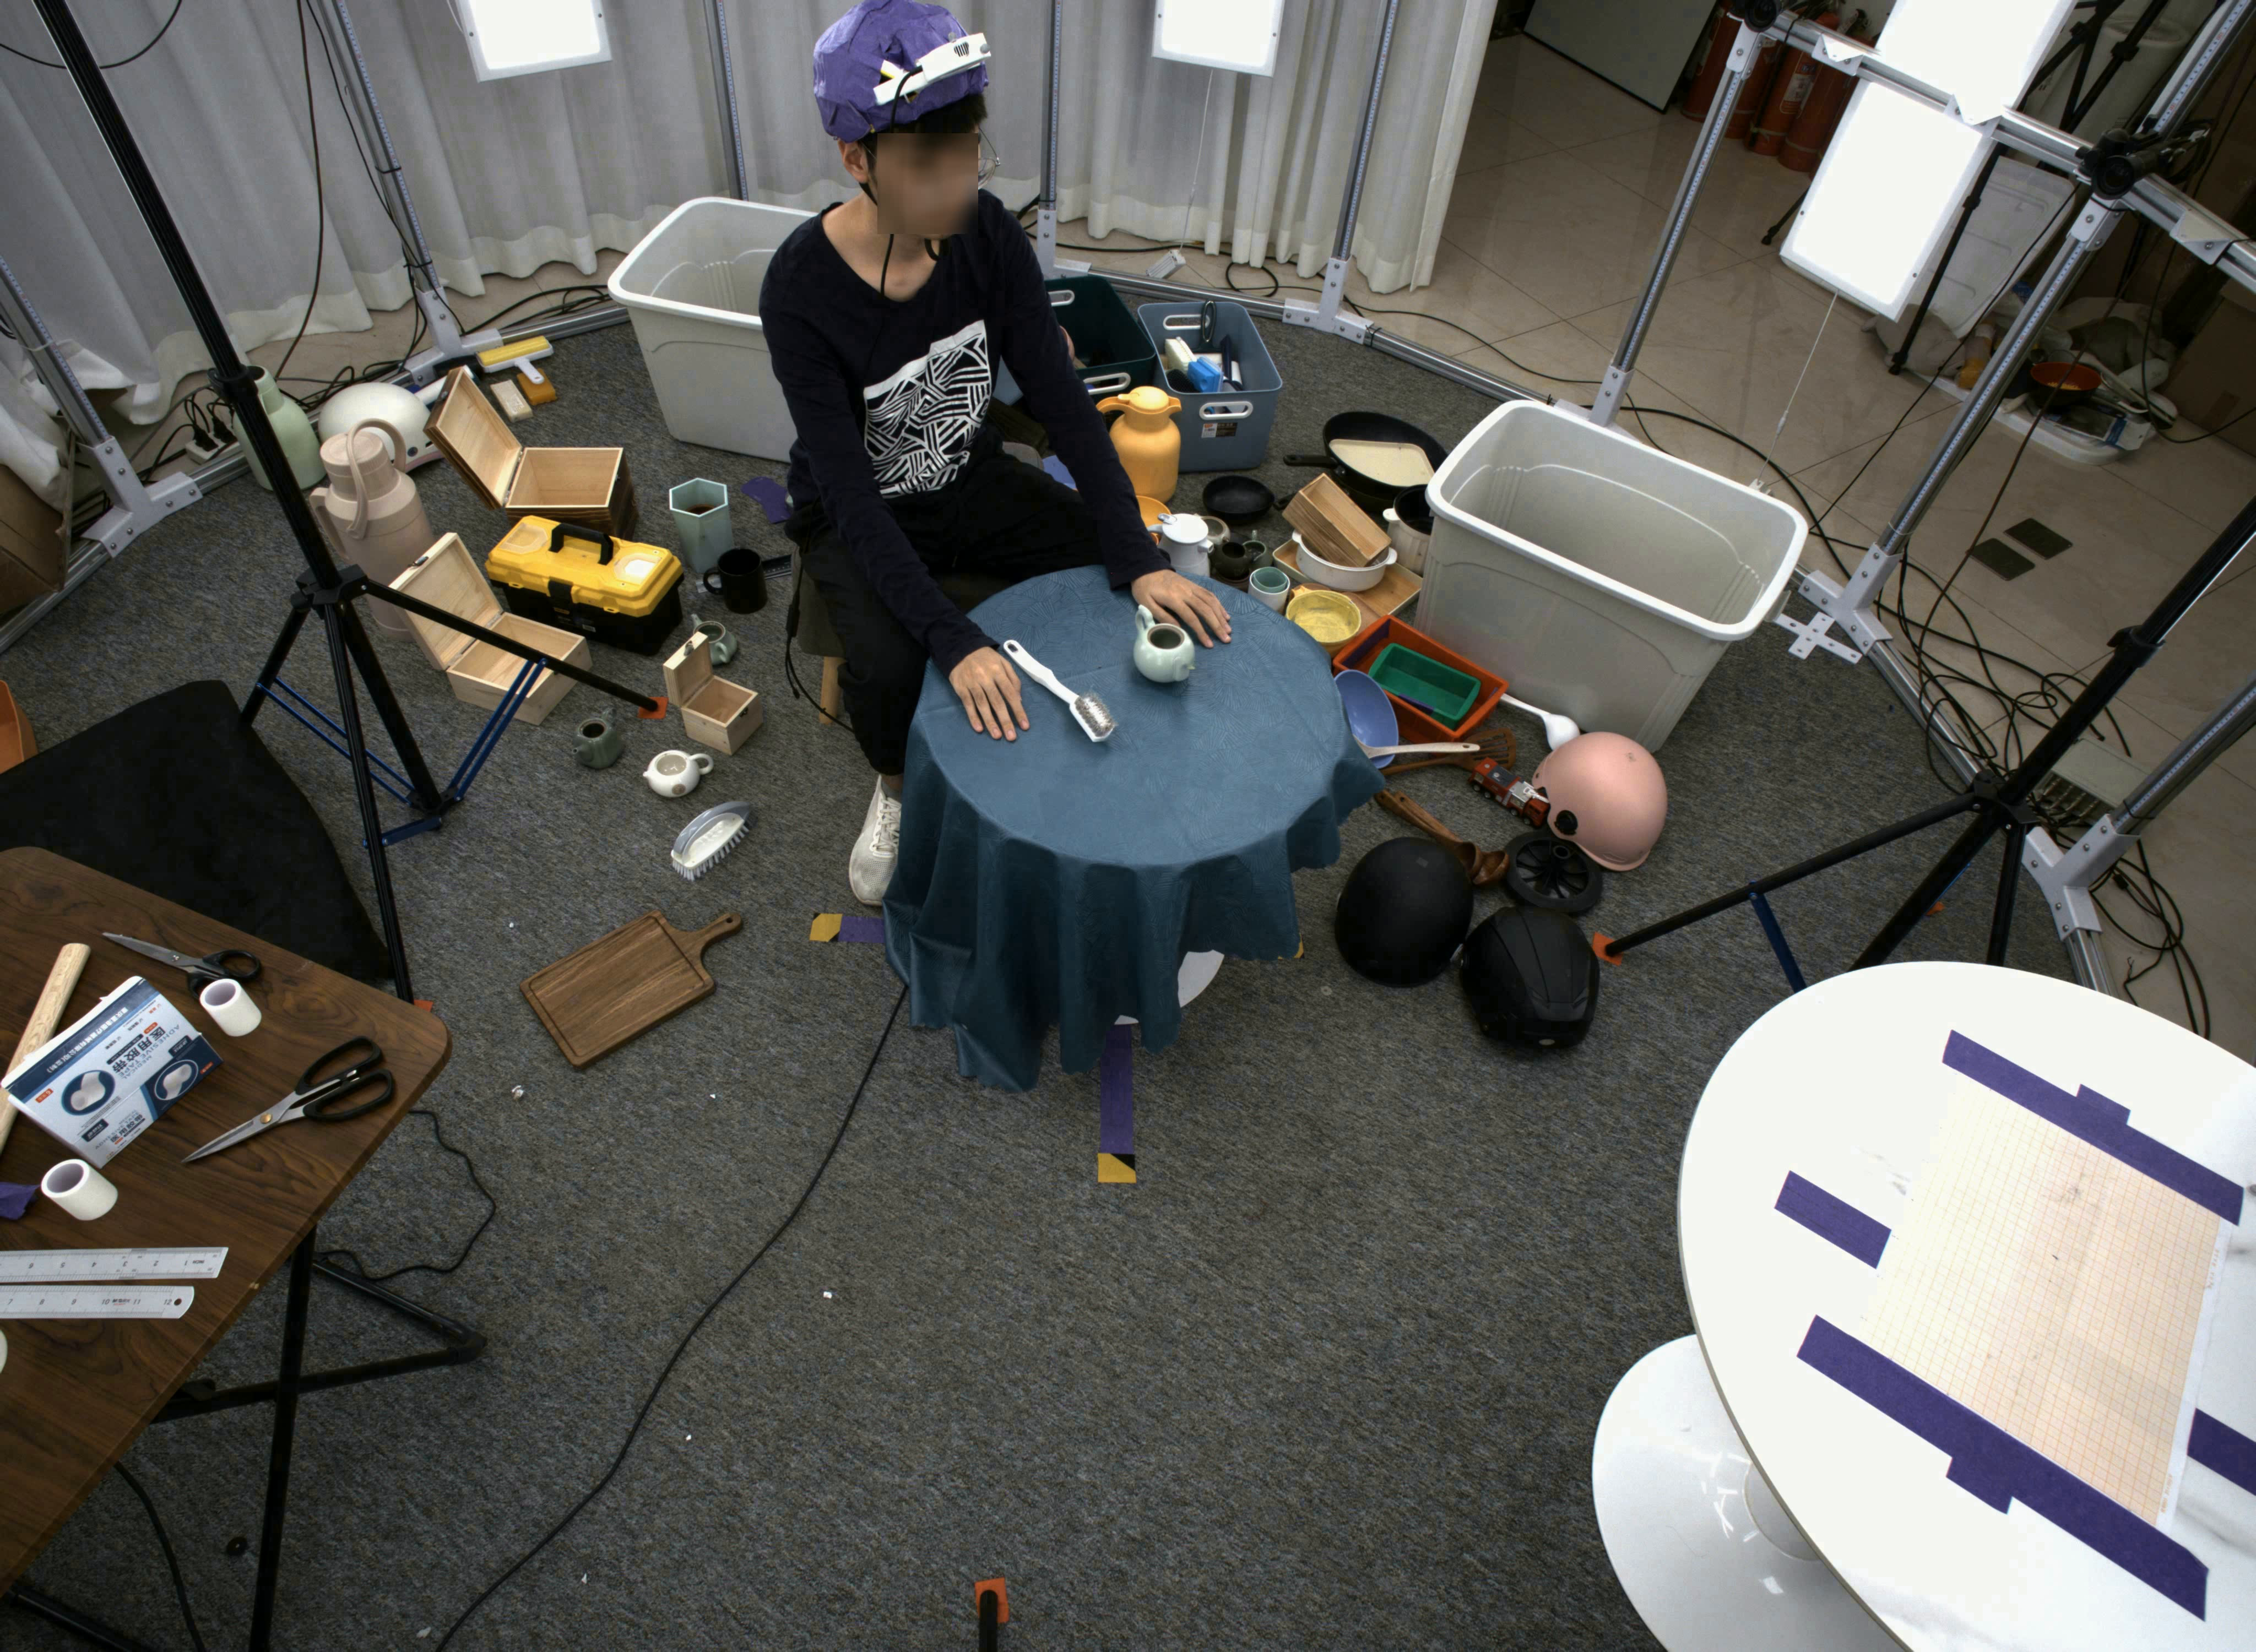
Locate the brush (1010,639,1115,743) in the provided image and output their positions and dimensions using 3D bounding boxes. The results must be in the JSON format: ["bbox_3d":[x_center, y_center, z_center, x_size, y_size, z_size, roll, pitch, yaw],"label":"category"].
[{"bbox_3d":[-0.097,-0.205,1.808,0.034,0.049,0.248,-28,56,-20],"label":"brush"}]

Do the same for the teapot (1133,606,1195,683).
[{"bbox_3d":[0.052,-0.248,1.841,0.088,0.073,0.147,-21,55,-20],"label":"teapot"}]
